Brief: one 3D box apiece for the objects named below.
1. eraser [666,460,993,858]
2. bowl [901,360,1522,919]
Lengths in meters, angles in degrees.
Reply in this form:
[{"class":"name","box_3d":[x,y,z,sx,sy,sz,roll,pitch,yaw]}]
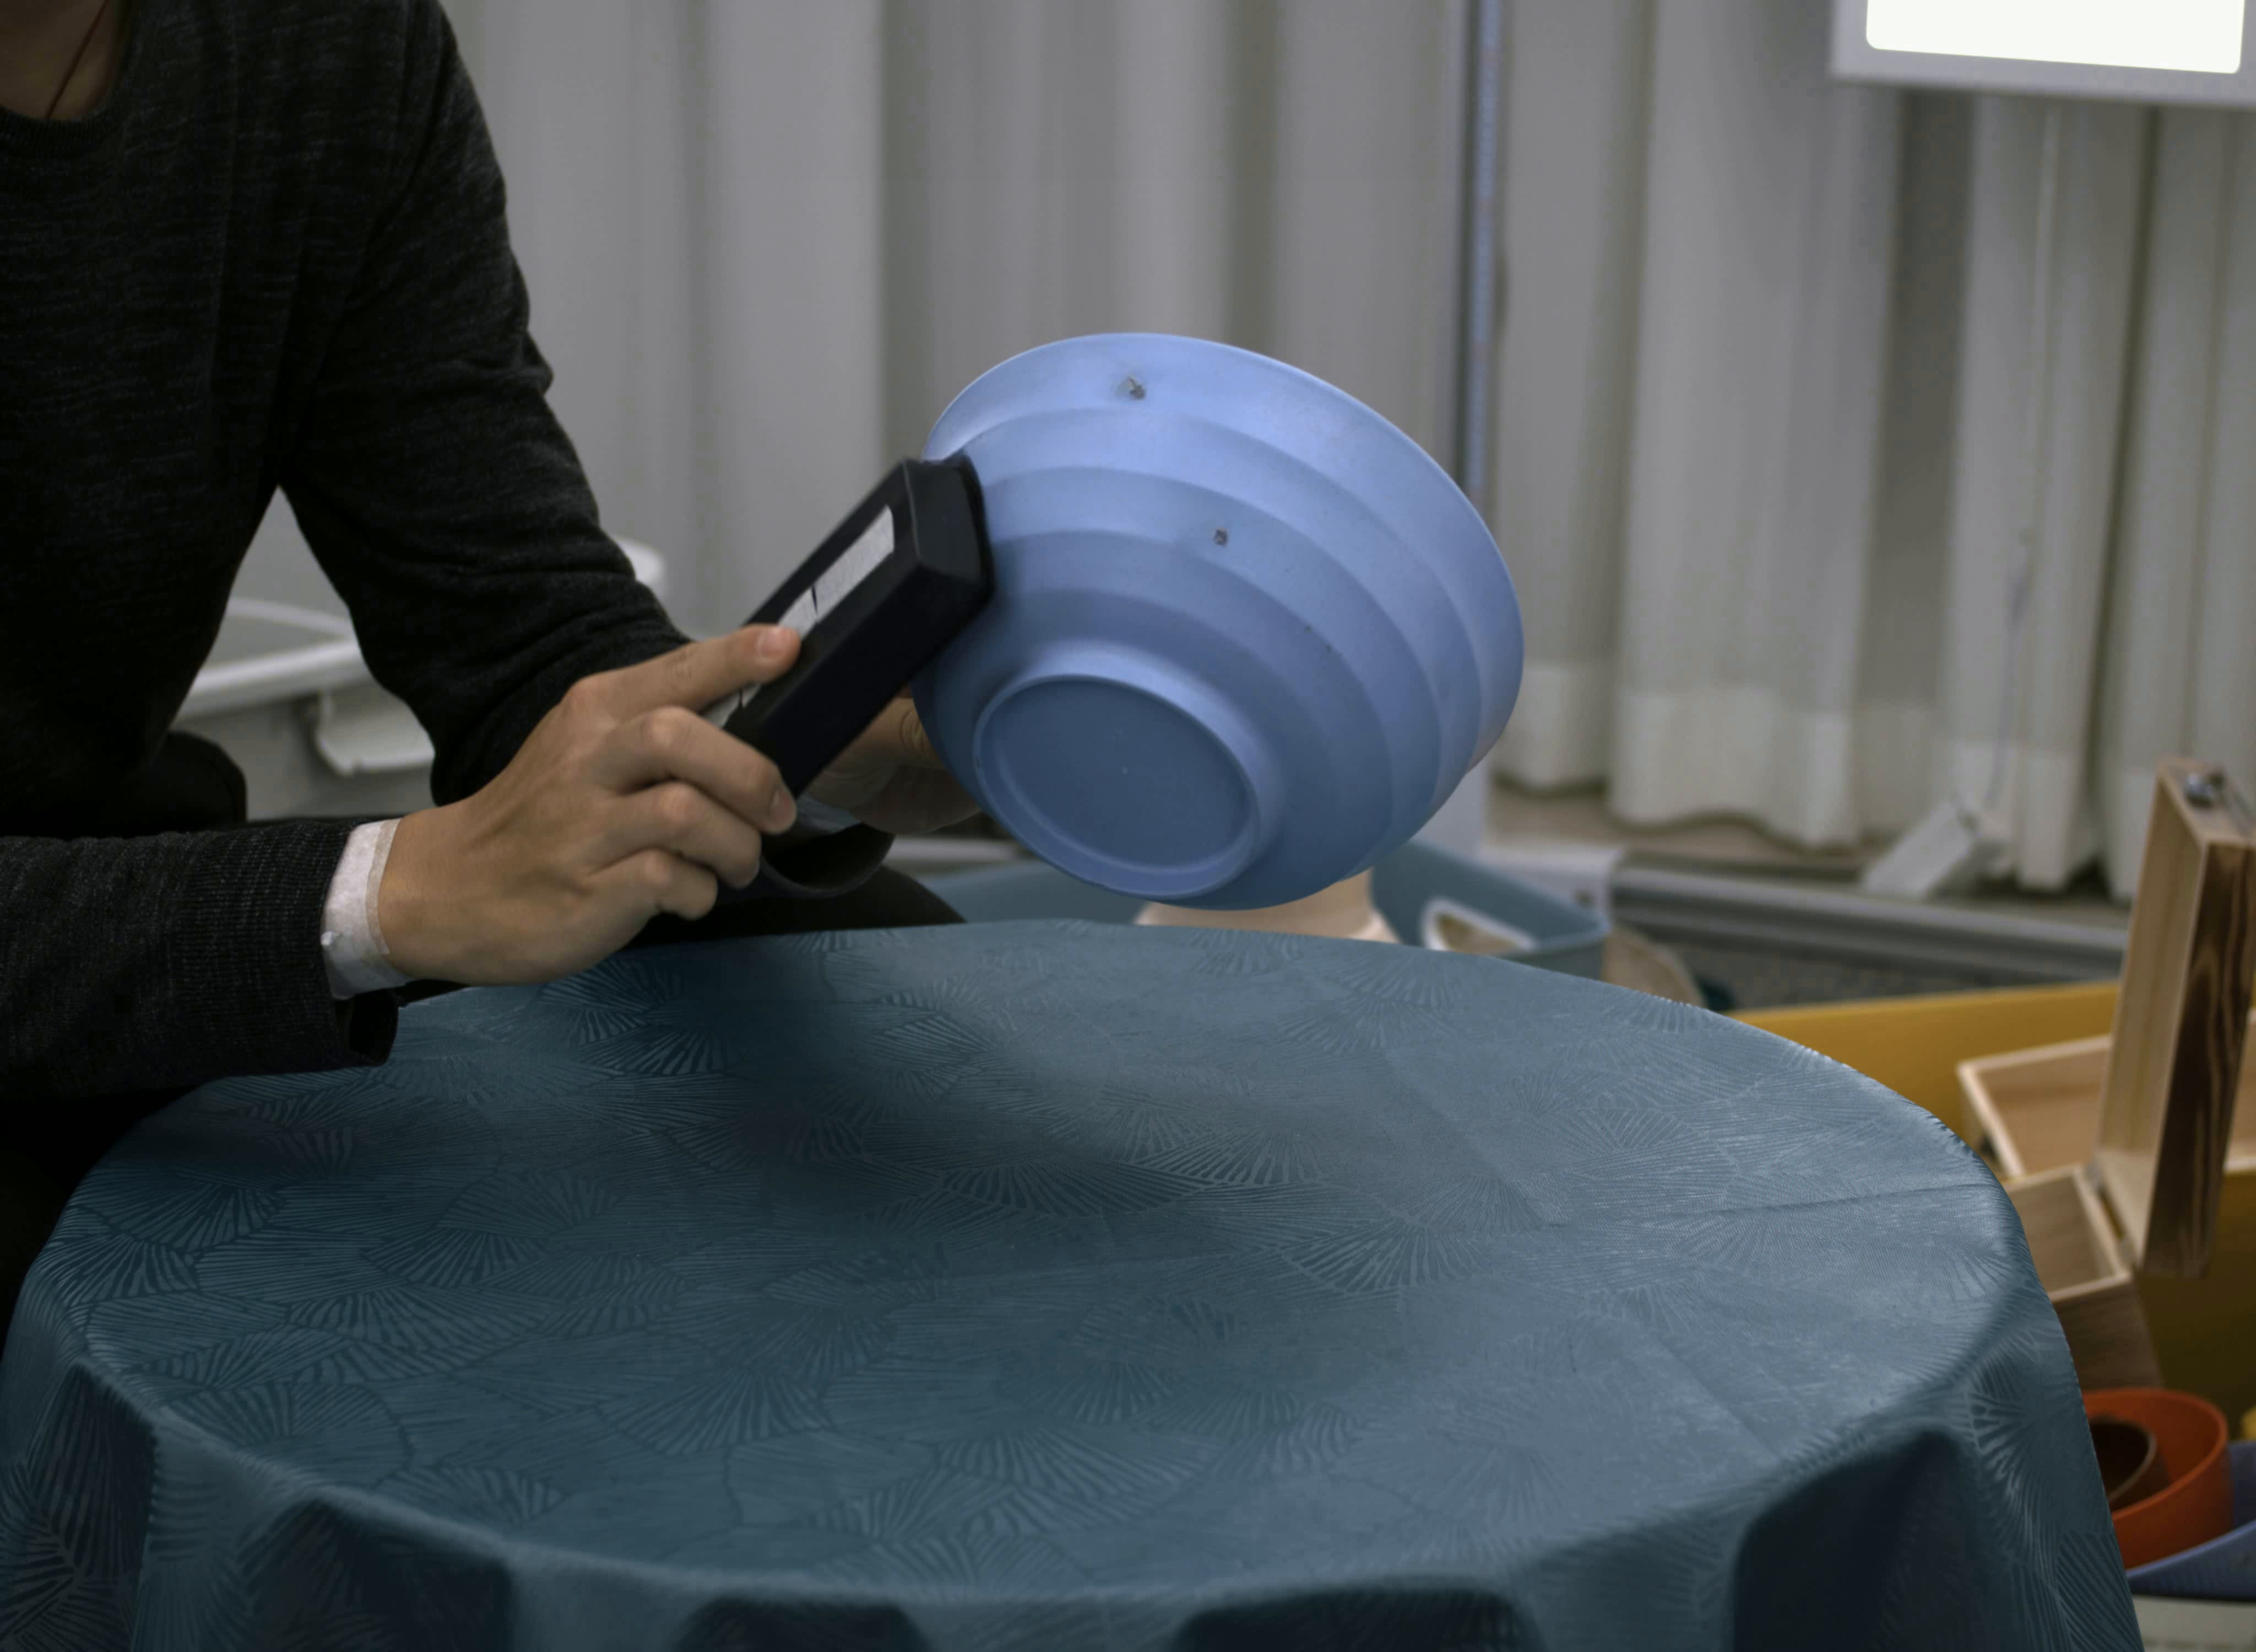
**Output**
[{"class":"eraser","box_3d":[-0.088,-0.049,1.539,0.031,0.125,0.053,30,31,-28]},{"class":"bowl","box_3d":[0.013,-0.037,1.578,0.195,0.199,0.095,6,51,17]}]
